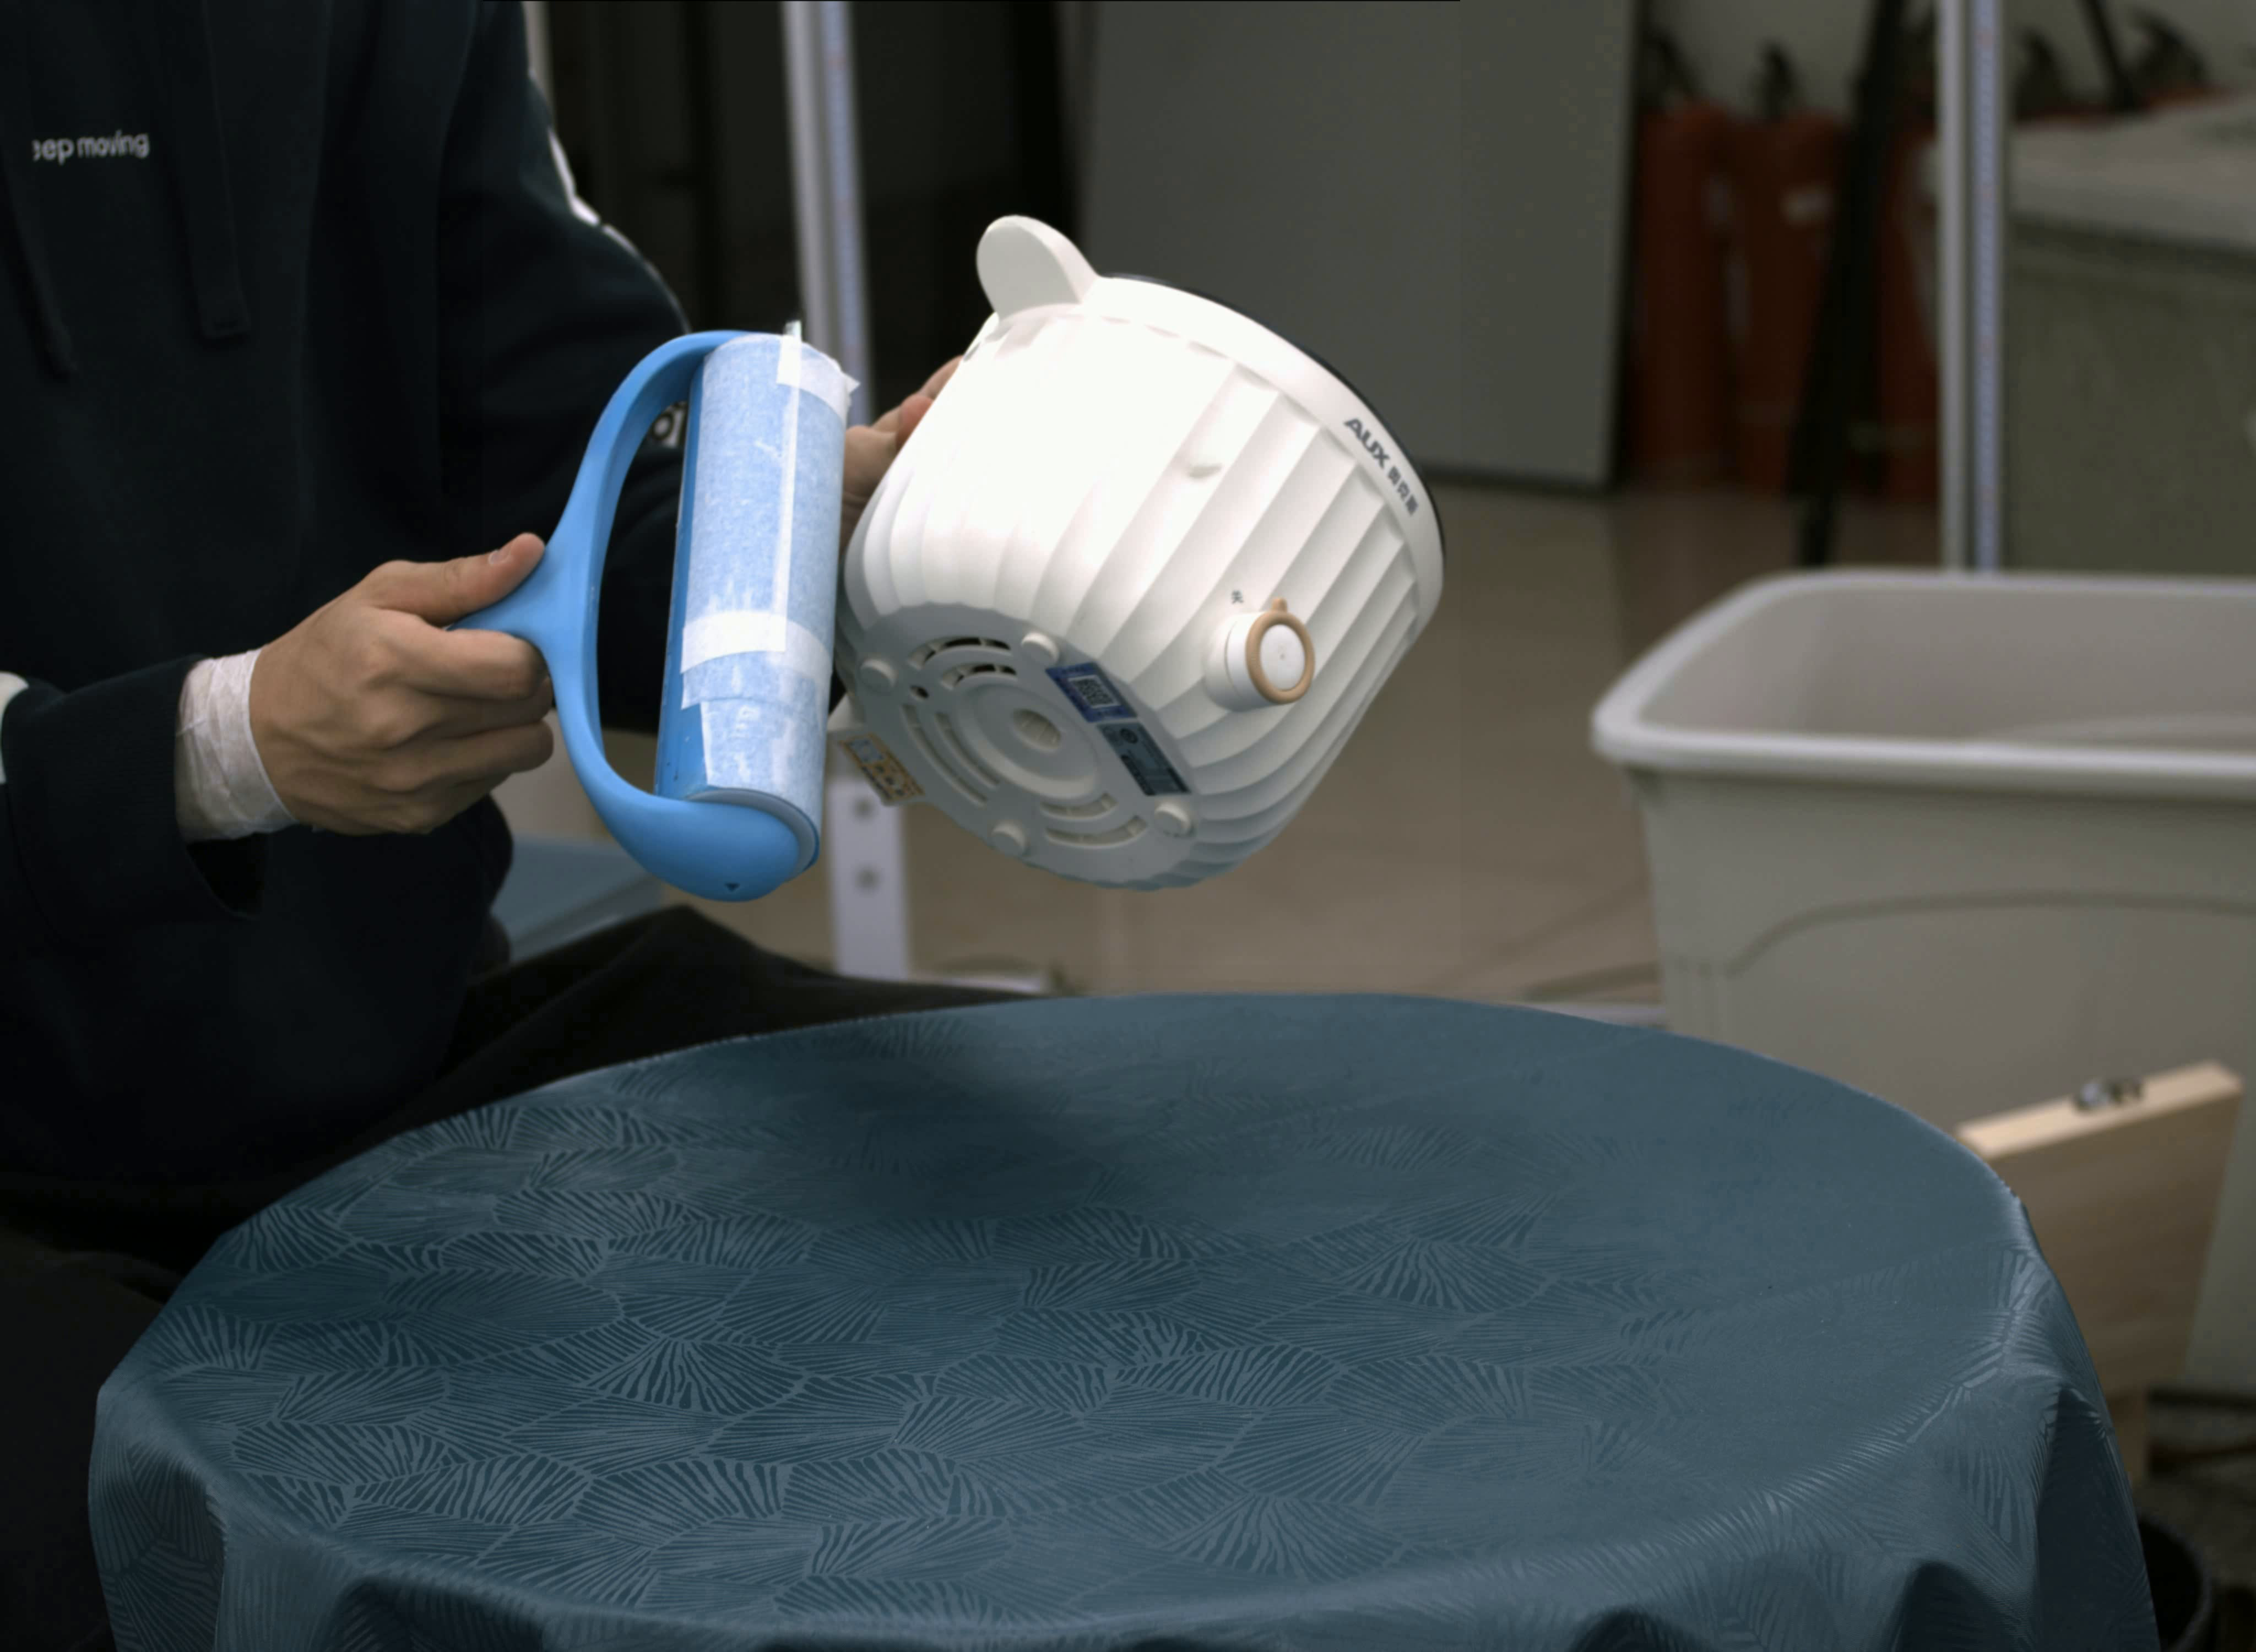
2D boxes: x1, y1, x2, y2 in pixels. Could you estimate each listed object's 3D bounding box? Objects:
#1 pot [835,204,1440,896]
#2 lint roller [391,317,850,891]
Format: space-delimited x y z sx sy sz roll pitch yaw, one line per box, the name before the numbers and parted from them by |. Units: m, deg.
pot | 0.000 -0.073 1.788 0.192 0.239 0.142 -10 38 43
lint roller | -0.173 -0.058 1.757 0.180 0.067 0.231 -17 49 17
